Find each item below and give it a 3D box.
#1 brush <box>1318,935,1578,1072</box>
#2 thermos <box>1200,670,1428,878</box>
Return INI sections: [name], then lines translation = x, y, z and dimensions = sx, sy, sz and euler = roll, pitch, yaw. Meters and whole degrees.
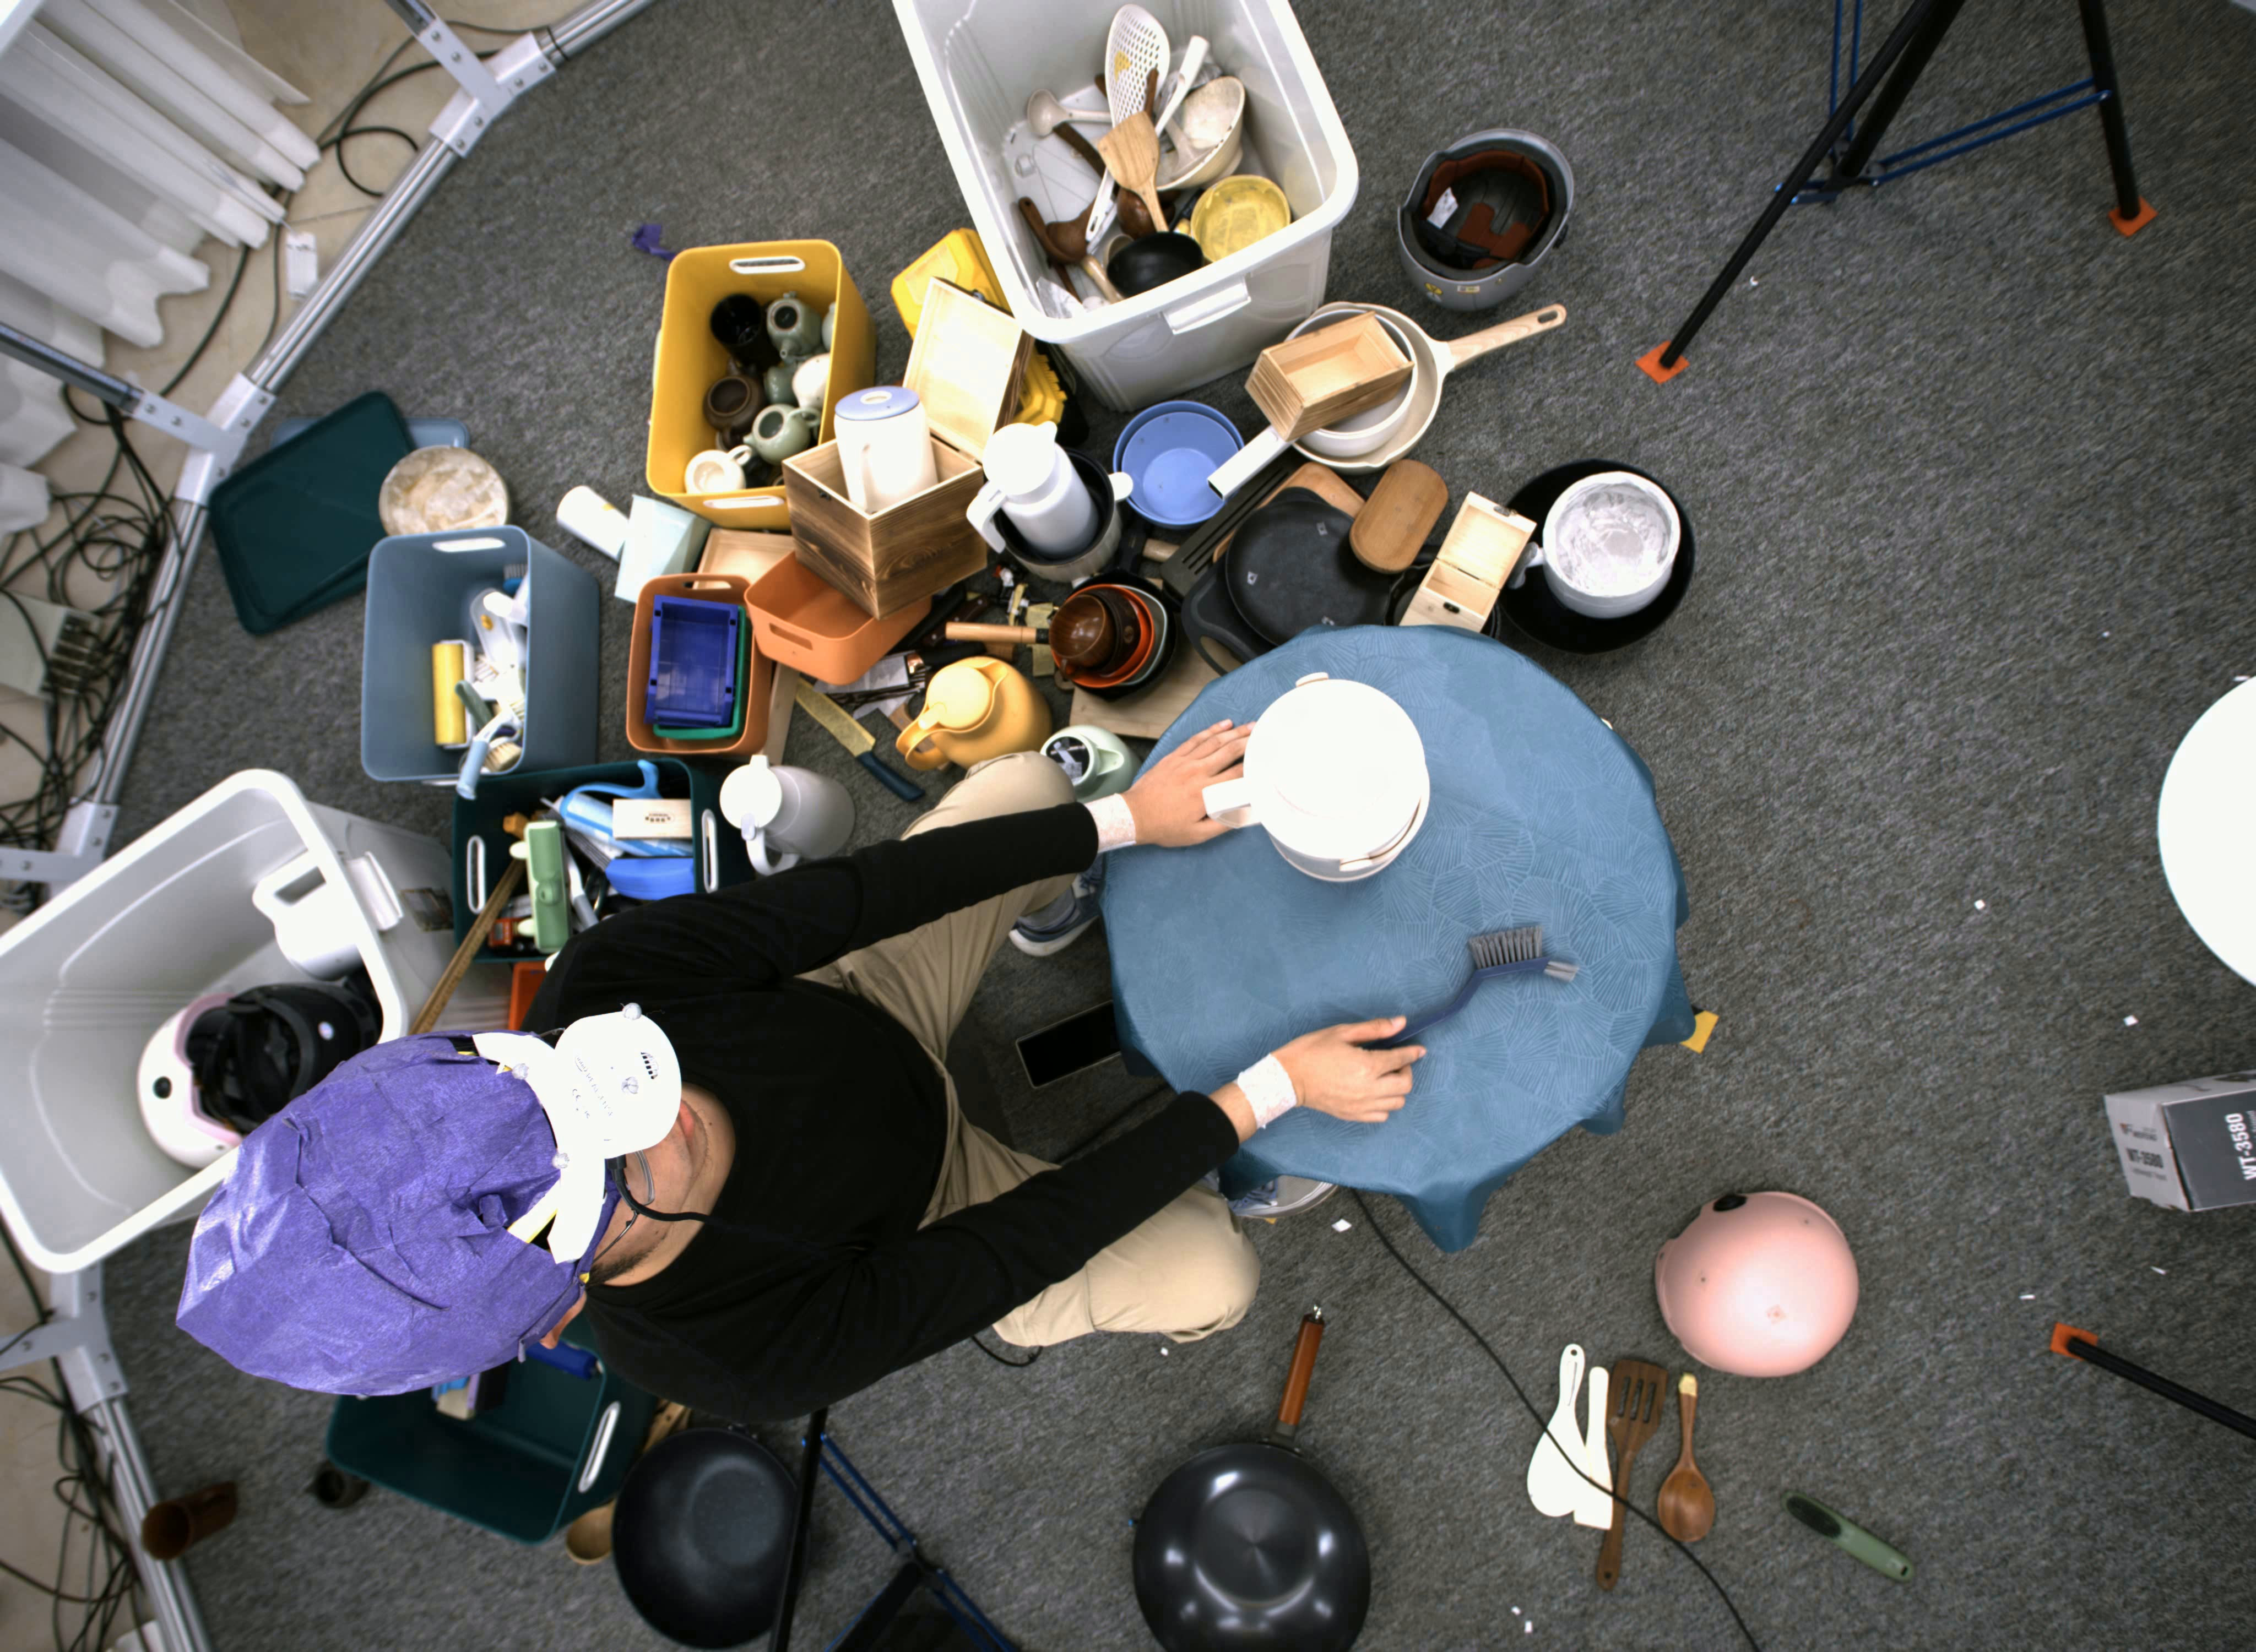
[brush]
translation = 0.326, 0.199, 1.426
dimensions = 0.274, 0.033, 0.095
euler = -35, 80, 5
[thermos]
translation = 0.177, -0.041, 1.282
dimensions = 0.208, 0.406, 0.174
euler = -14, 84, 8
